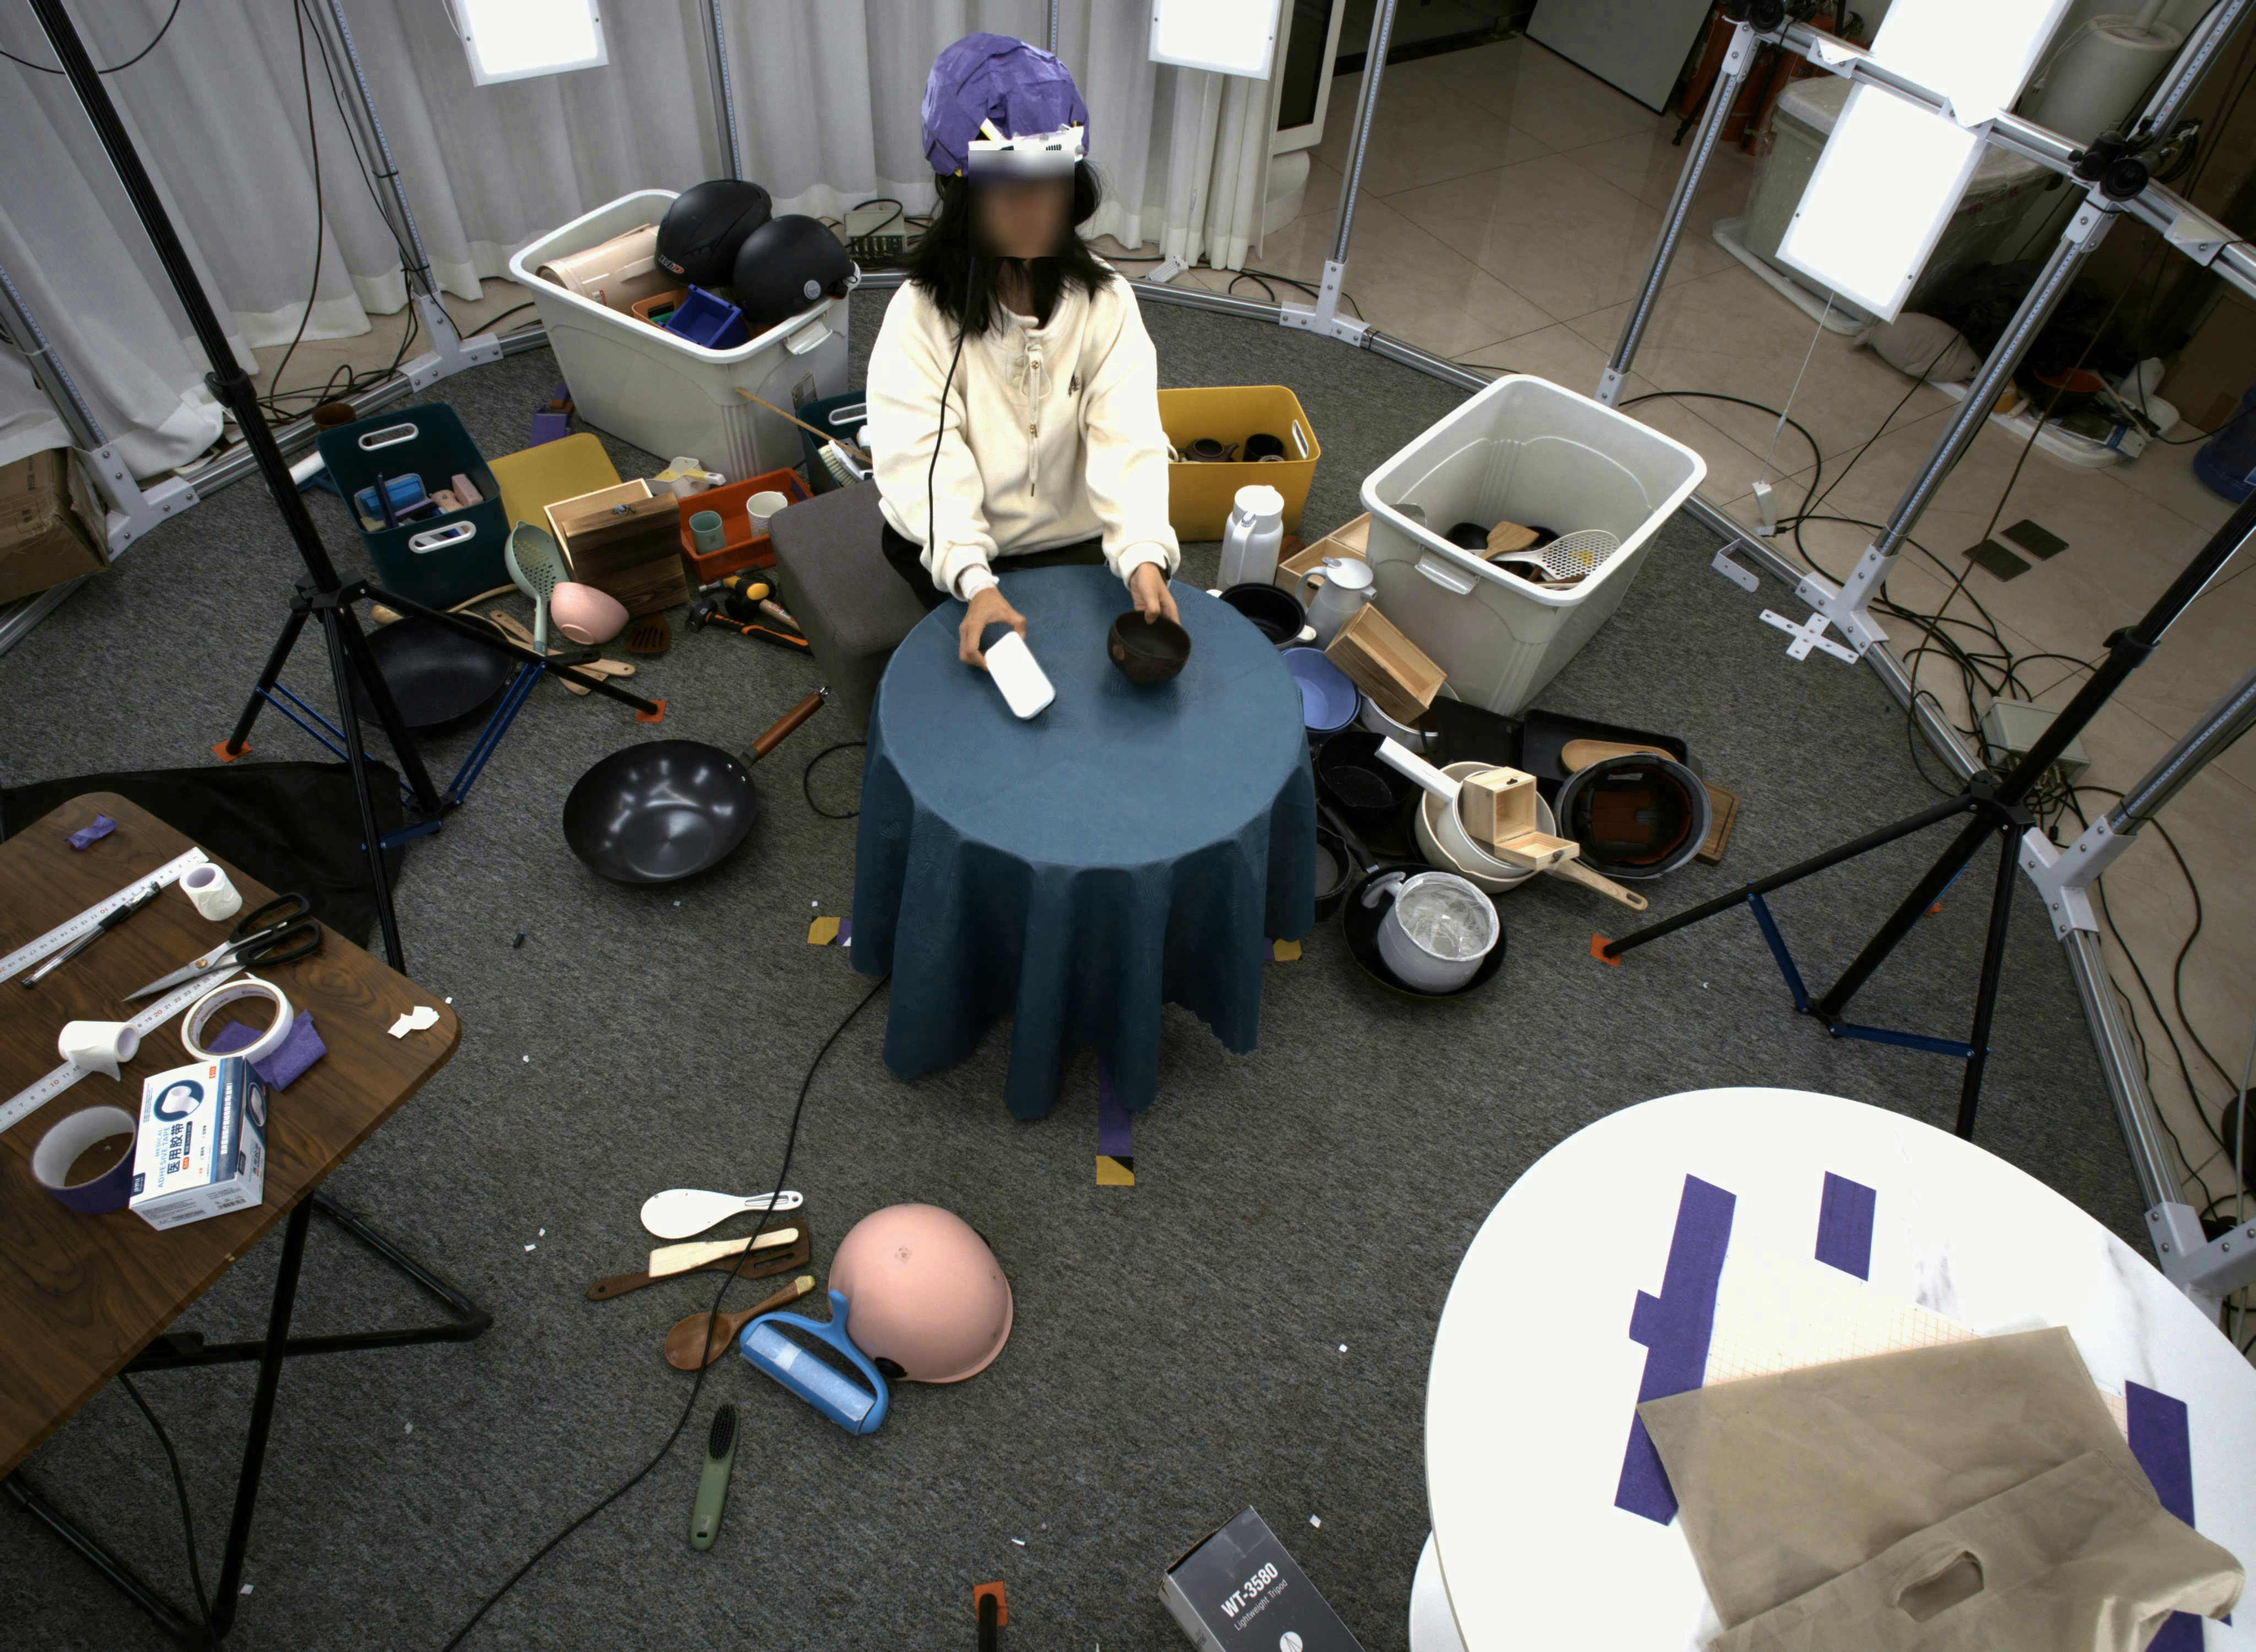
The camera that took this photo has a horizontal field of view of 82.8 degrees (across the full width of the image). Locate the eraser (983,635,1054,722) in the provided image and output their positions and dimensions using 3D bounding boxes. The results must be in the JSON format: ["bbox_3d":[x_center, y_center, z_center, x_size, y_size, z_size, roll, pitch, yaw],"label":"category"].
[{"bbox_3d":[-0.153,-0.209,1.799,0.063,0.034,0.134,-35,60,9],"label":"eraser"}]

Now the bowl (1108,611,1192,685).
[{"bbox_3d":[0.026,-0.245,1.824,0.117,0.068,0.121,13,37,-10],"label":"bowl"}]
